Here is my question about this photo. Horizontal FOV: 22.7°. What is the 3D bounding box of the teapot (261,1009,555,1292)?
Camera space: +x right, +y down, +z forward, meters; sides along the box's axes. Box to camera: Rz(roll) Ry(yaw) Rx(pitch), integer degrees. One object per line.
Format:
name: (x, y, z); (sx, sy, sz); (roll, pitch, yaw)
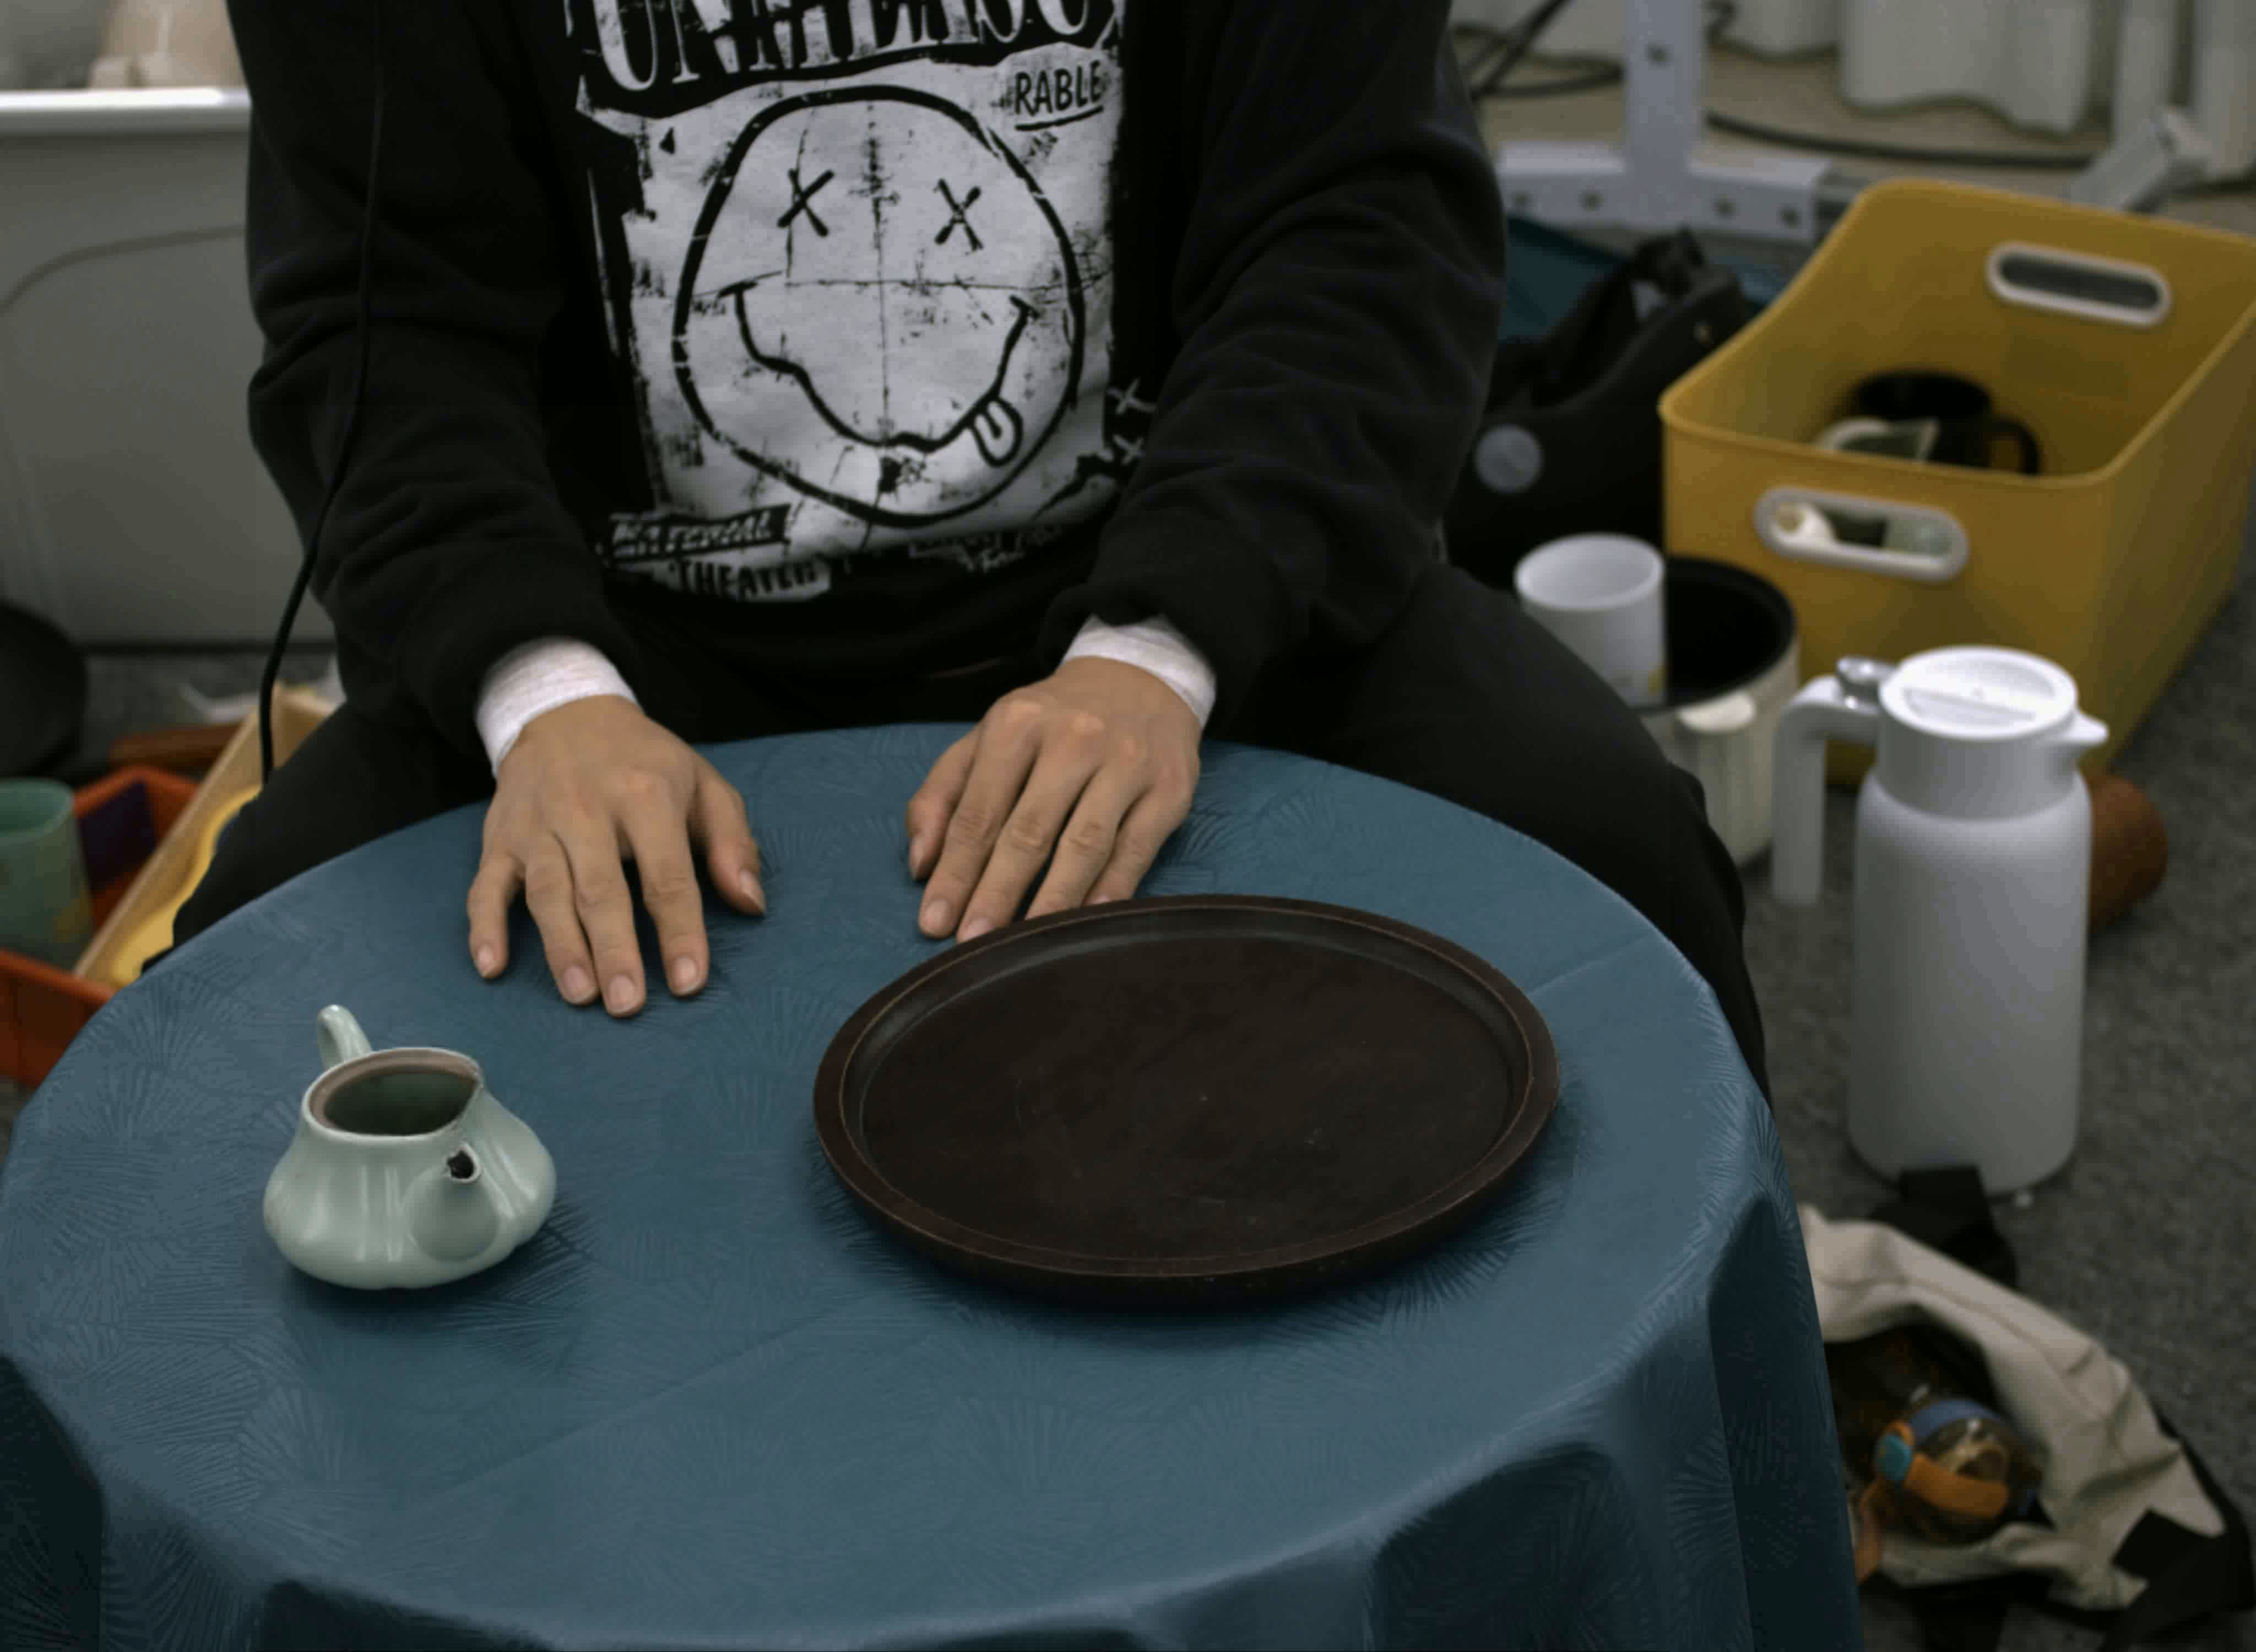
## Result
teapot: (-0.239, 0.109, 1.841); (0.097, 0.061, 0.137); (-18, 31, -25)

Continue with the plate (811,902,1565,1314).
plate: (0.020, 0.092, 1.888); (0.253, 0.029, 0.259); (-3, 28, 2)
